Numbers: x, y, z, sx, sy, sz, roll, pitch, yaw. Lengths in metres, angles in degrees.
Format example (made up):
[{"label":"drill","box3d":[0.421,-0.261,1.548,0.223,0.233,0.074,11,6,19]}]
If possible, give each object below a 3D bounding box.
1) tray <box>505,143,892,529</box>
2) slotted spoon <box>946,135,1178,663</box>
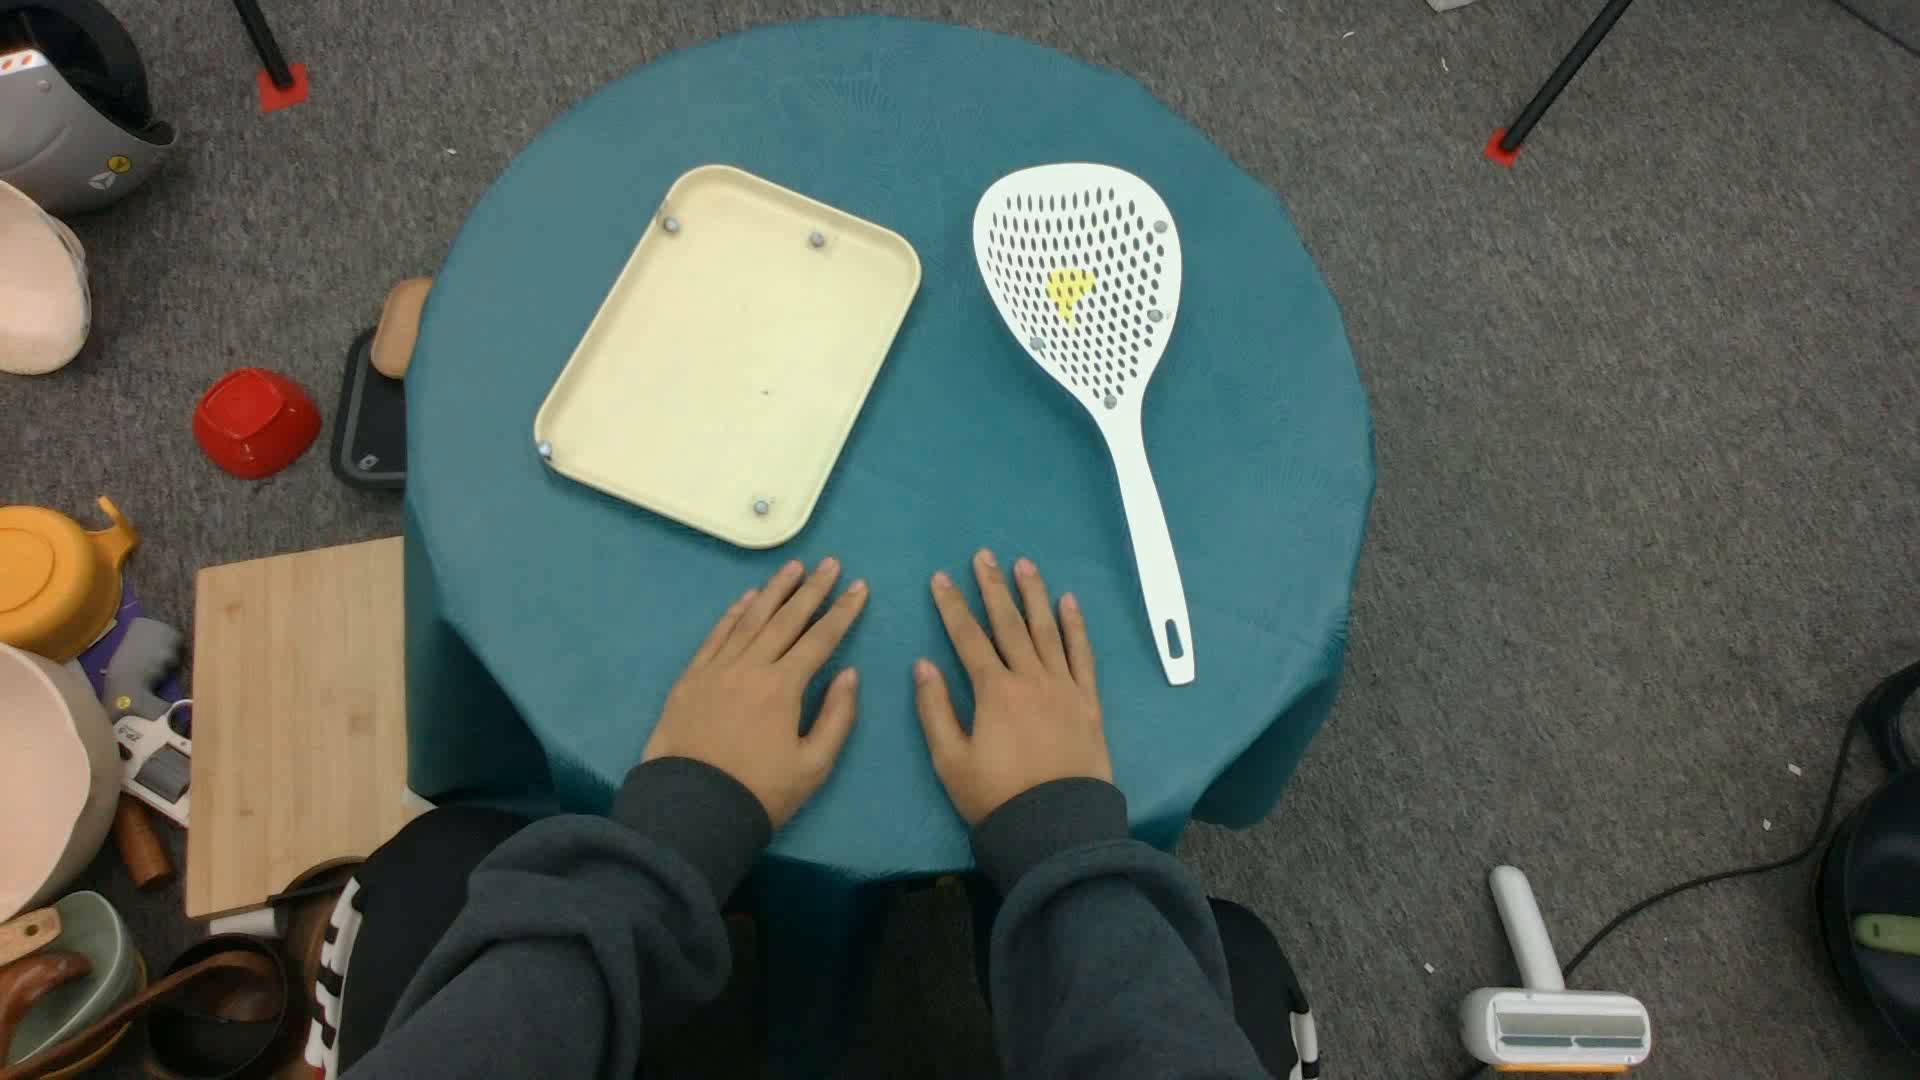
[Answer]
[{"label":"tray","box3d":[-0.154,-0.128,0.842,0.171,0.017,0.240,22,66,0]},{"label":"slotted spoon","box3d":[0.080,-0.094,0.852,0.137,0.050,0.348,-8,70,-16]}]
